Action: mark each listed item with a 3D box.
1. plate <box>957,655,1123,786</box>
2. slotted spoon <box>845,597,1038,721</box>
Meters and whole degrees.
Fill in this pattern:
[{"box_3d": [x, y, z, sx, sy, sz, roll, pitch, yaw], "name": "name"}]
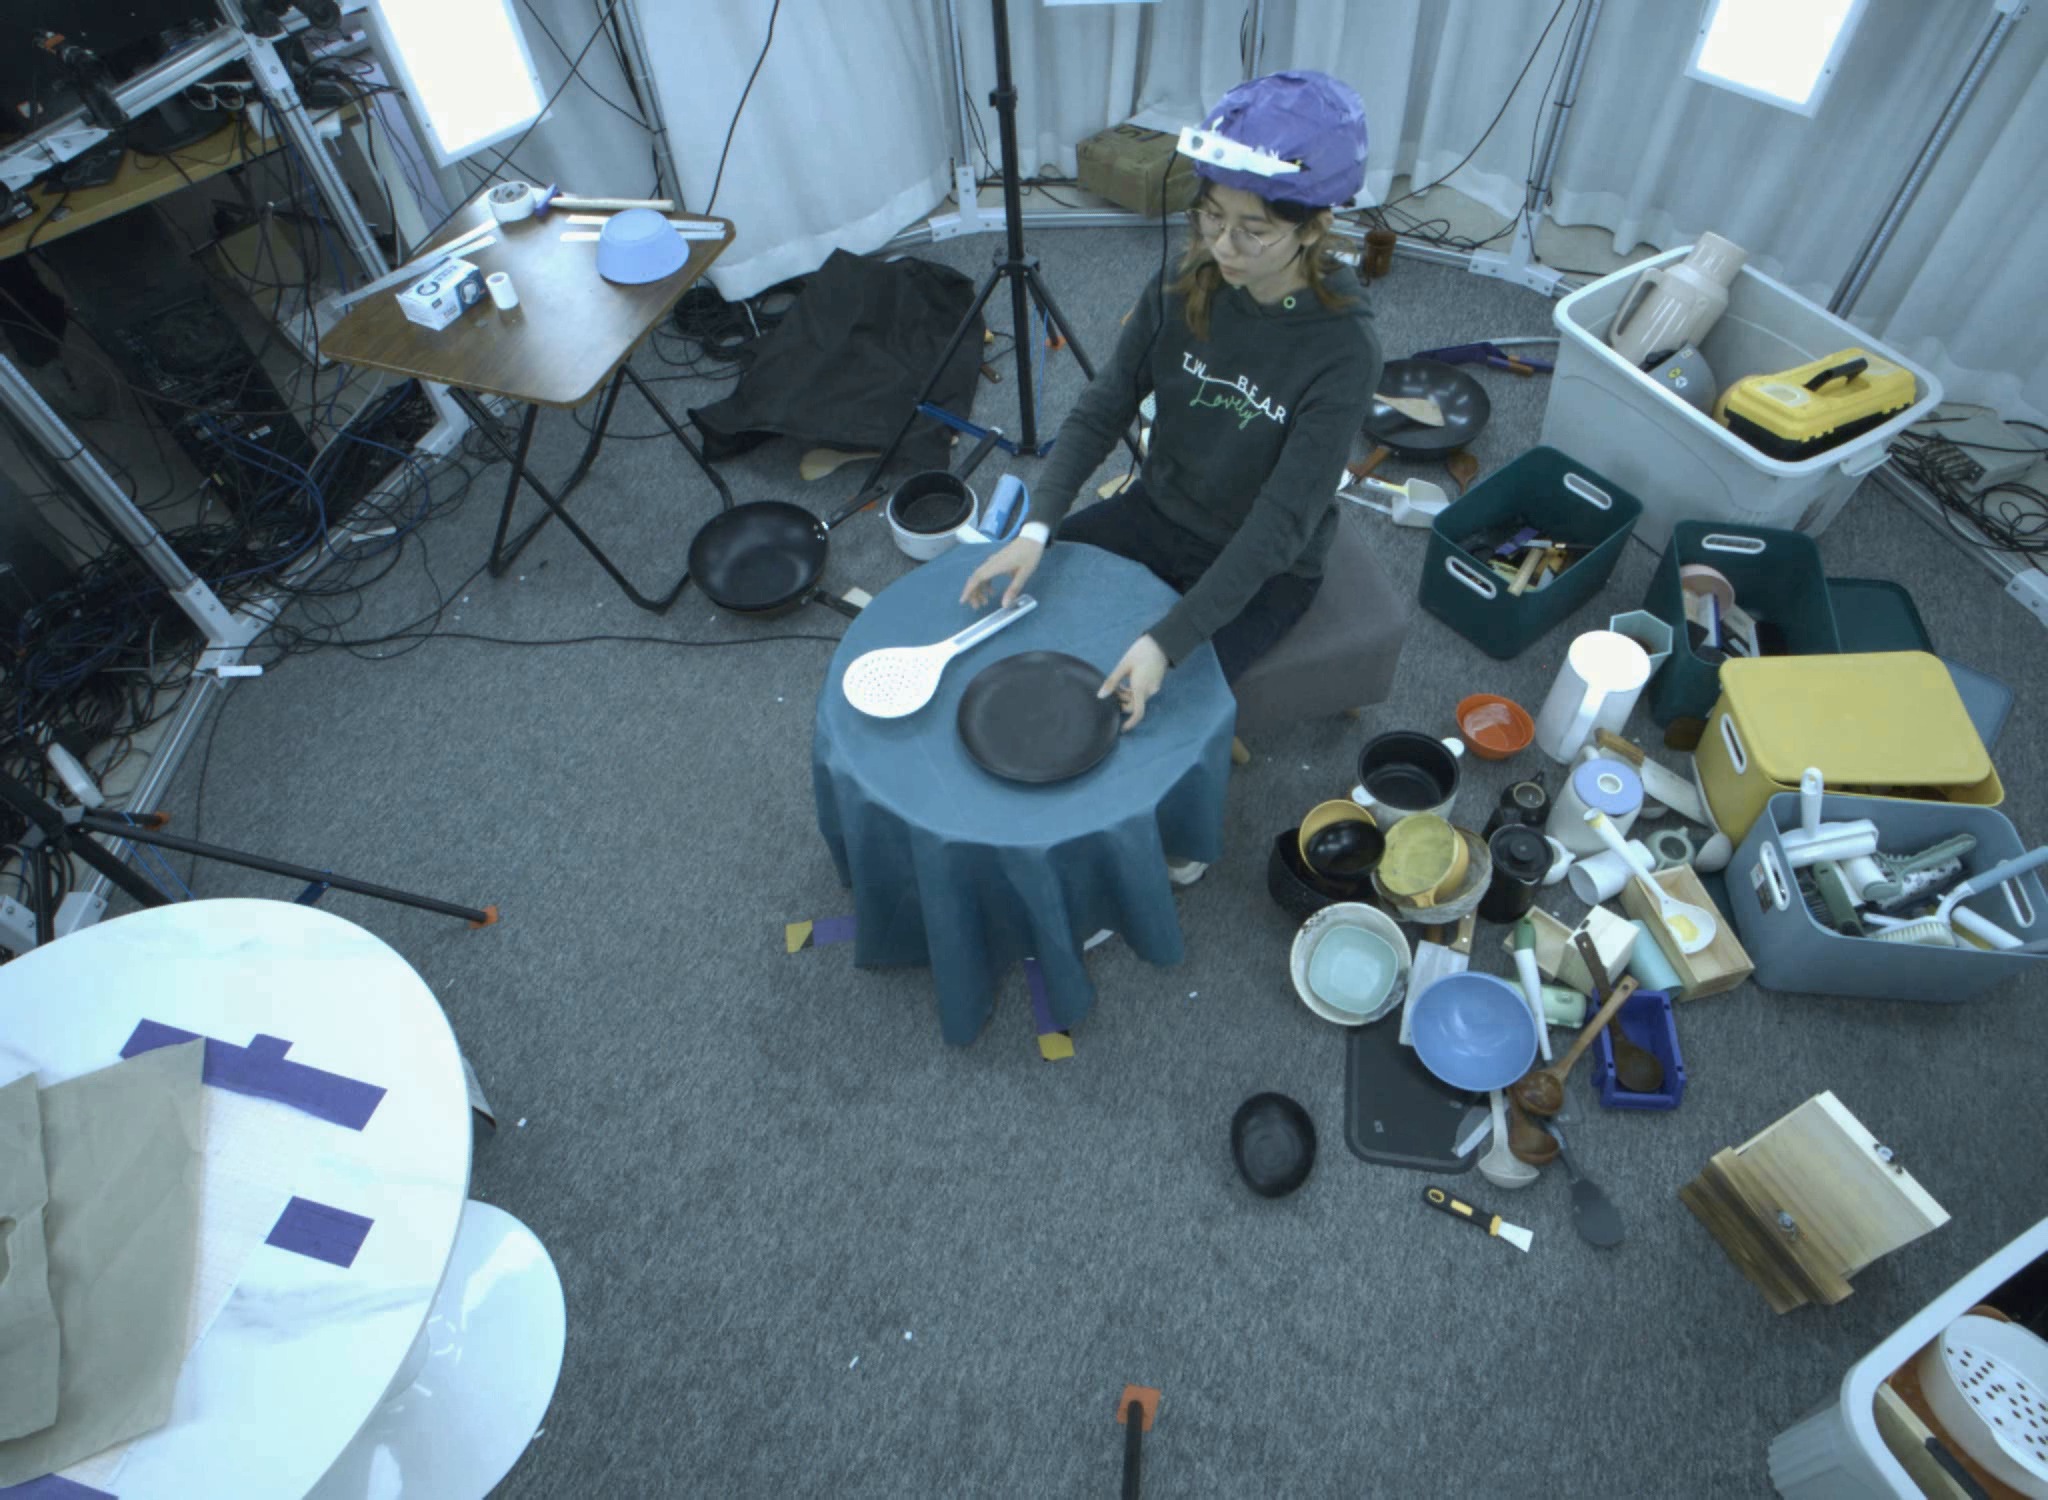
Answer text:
[{"box_3d": [0.024, -0.042, 1.813, 0.244, 0.023, 0.242, 0, 55, 2], "name": "plate"}, {"box_3d": [-0.117, -0.147, 1.877, 0.352, 0.046, 0.133, -36, 63, -22], "name": "slotted spoon"}]
